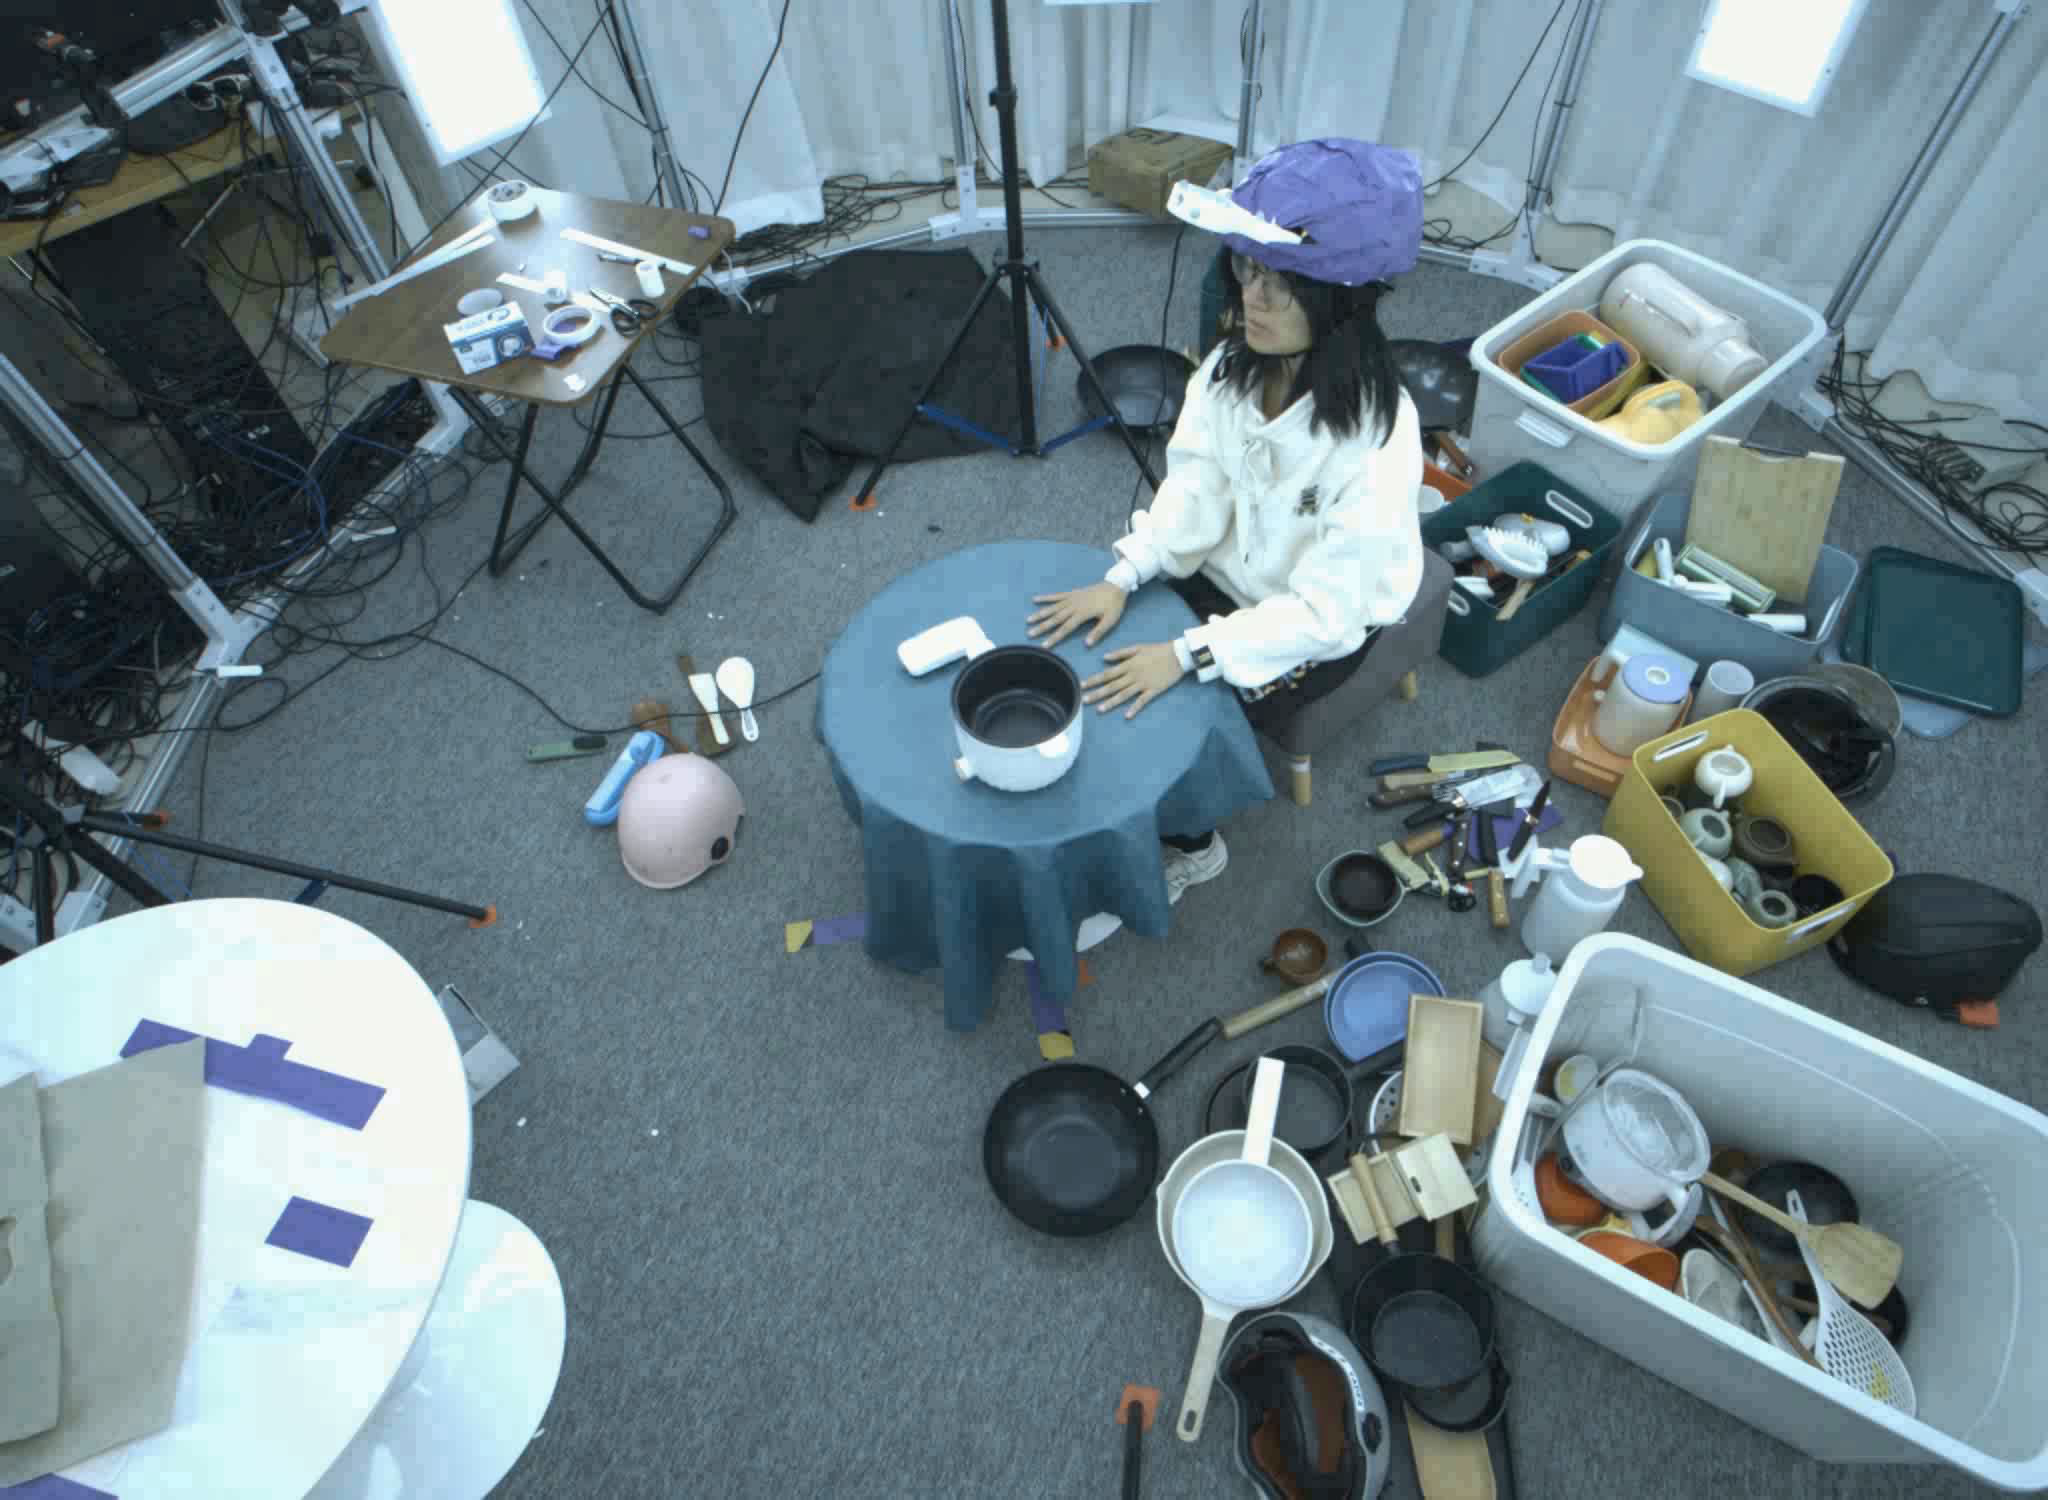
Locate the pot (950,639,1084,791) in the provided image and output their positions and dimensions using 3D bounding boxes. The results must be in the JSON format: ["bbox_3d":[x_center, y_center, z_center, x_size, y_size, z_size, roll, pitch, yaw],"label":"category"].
[{"bbox_3d":[-0.012,-0.034,1.727,0.192,0.144,0.236,-27,57,-19],"label":"pot"}]

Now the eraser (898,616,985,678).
[{"bbox_3d":[-0.126,-0.159,1.886,0.132,0.035,0.062,-26,60,-15],"label":"eraser"}]
